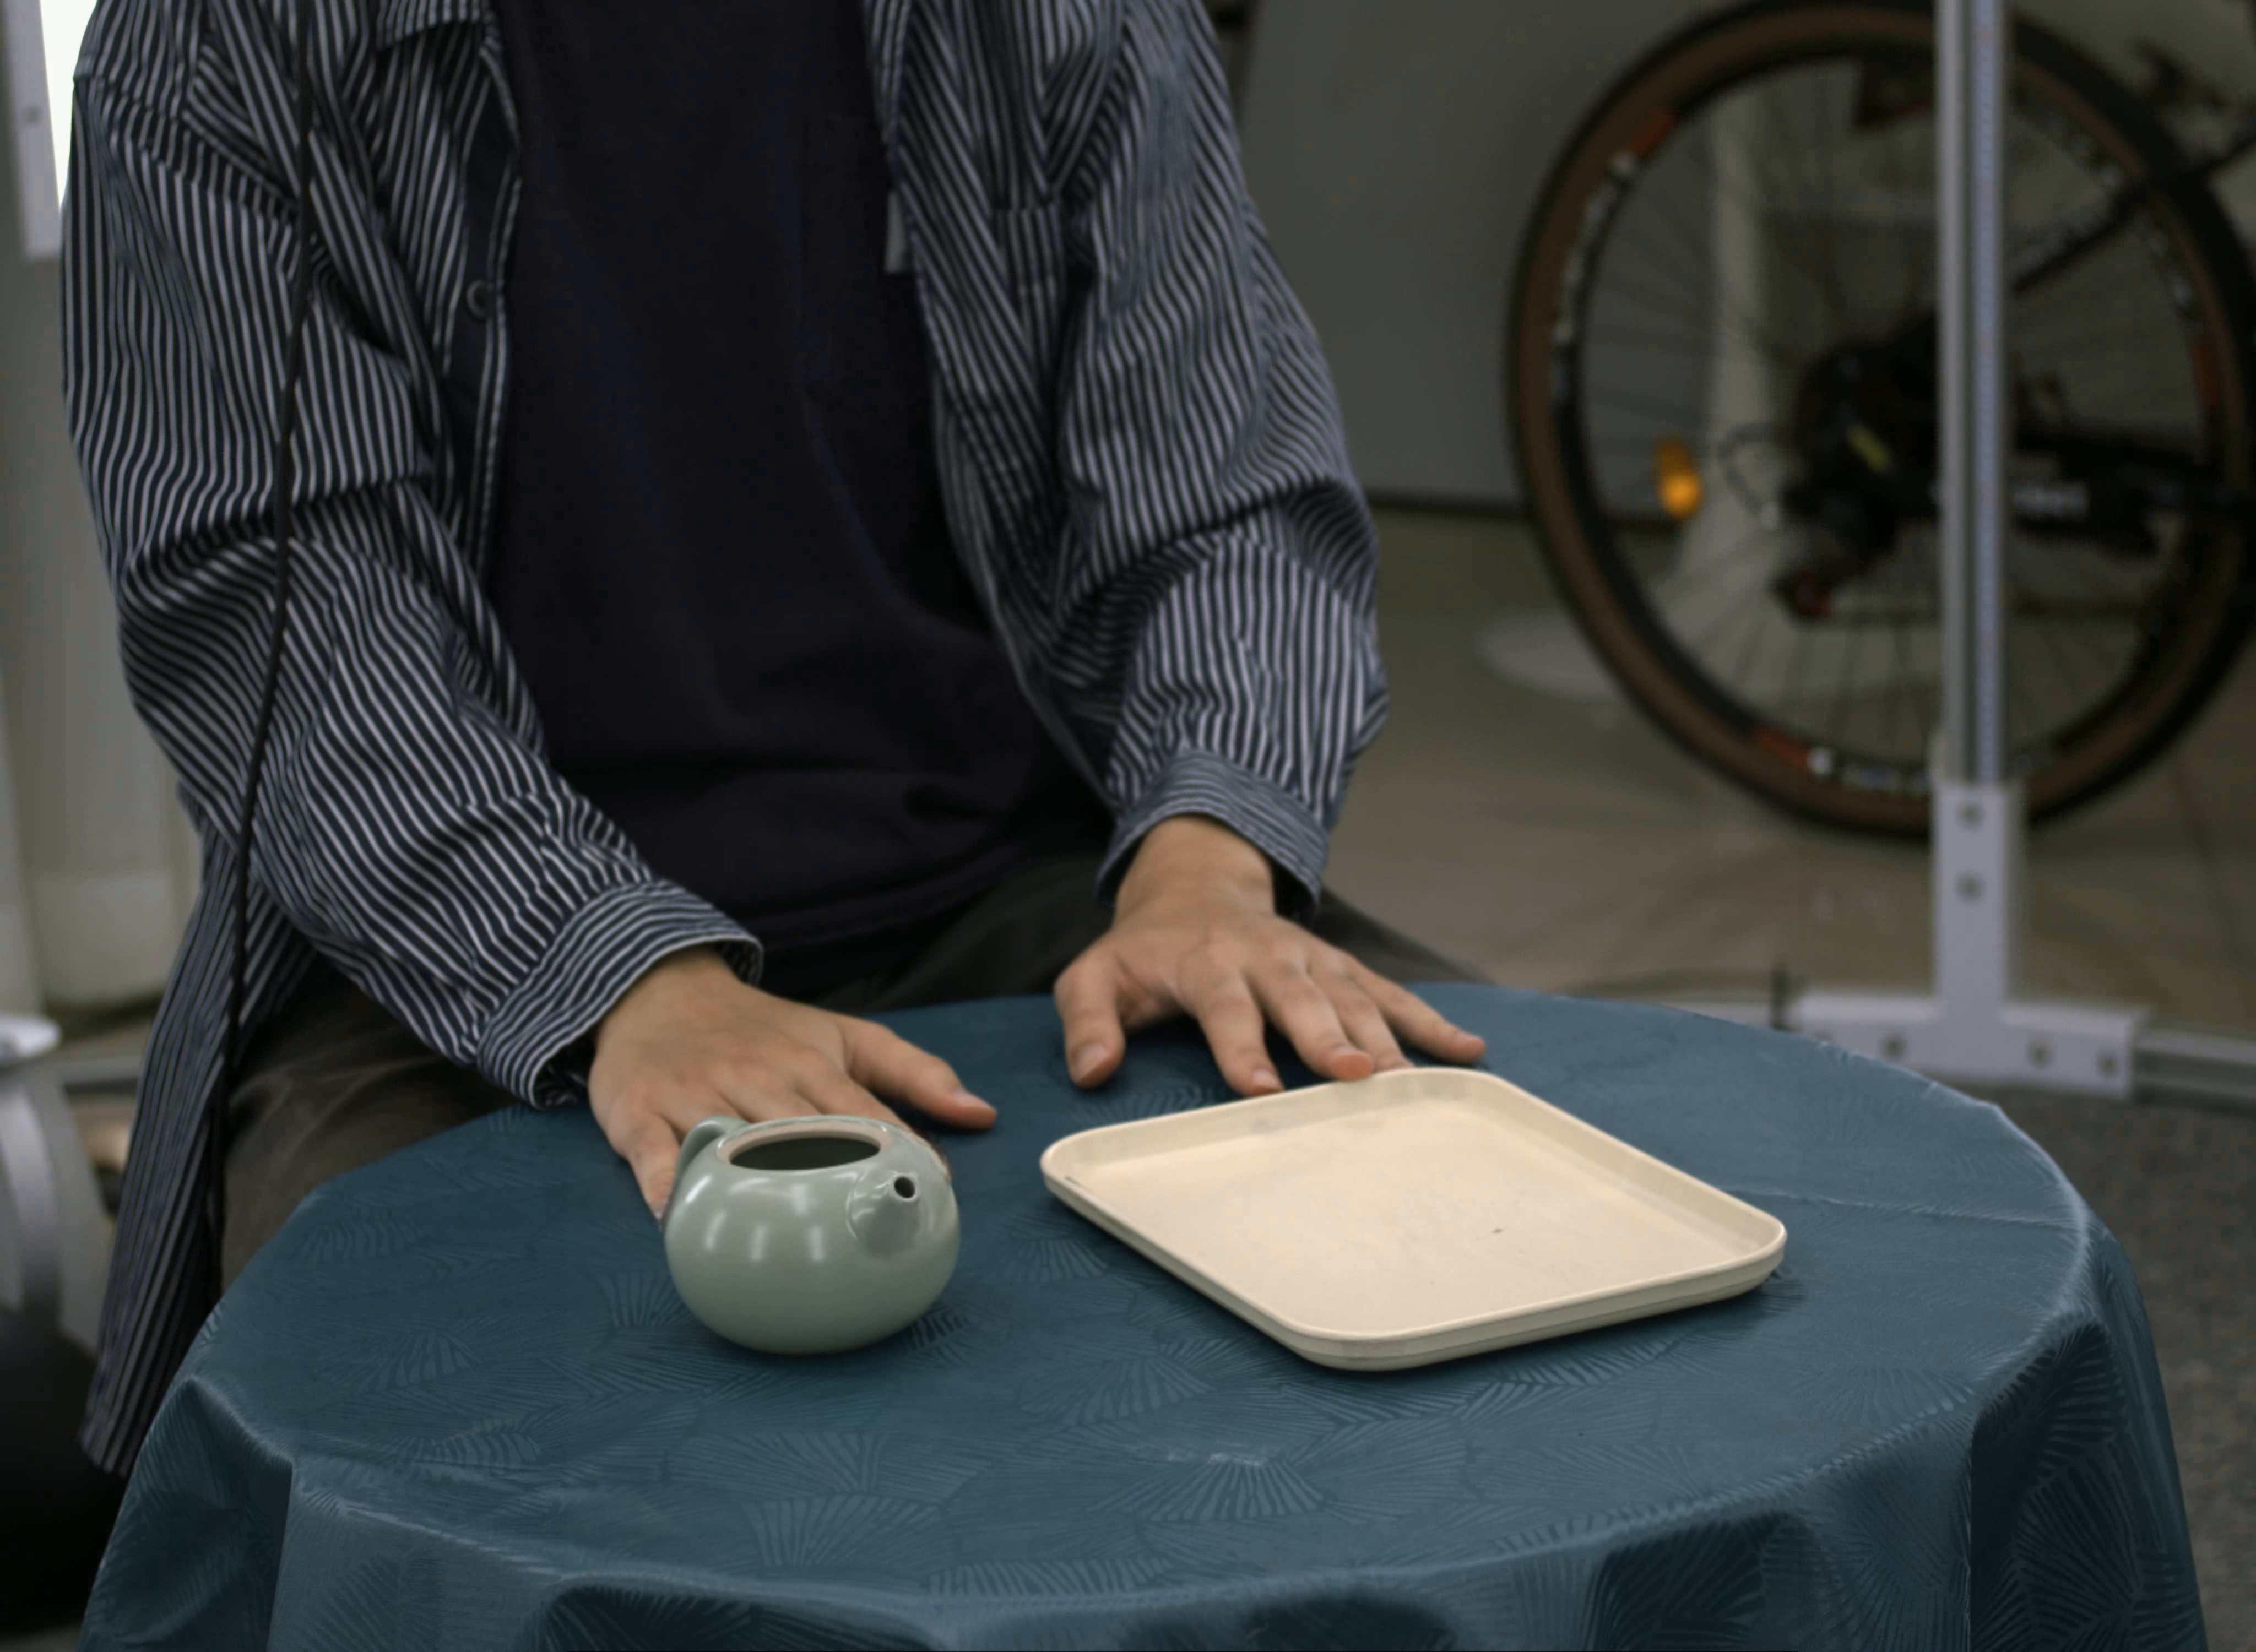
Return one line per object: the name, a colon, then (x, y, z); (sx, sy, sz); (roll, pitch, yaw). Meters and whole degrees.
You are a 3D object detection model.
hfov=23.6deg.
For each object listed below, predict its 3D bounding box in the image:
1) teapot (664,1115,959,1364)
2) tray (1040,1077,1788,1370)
teapot: (-0.102, 0.125, 1.659); (0.089, 0.061, 0.130); (-14, 16, -31)
tray: (0.087, 0.124, 1.697); (0.167, 0.017, 0.242); (-9, 14, -22)
